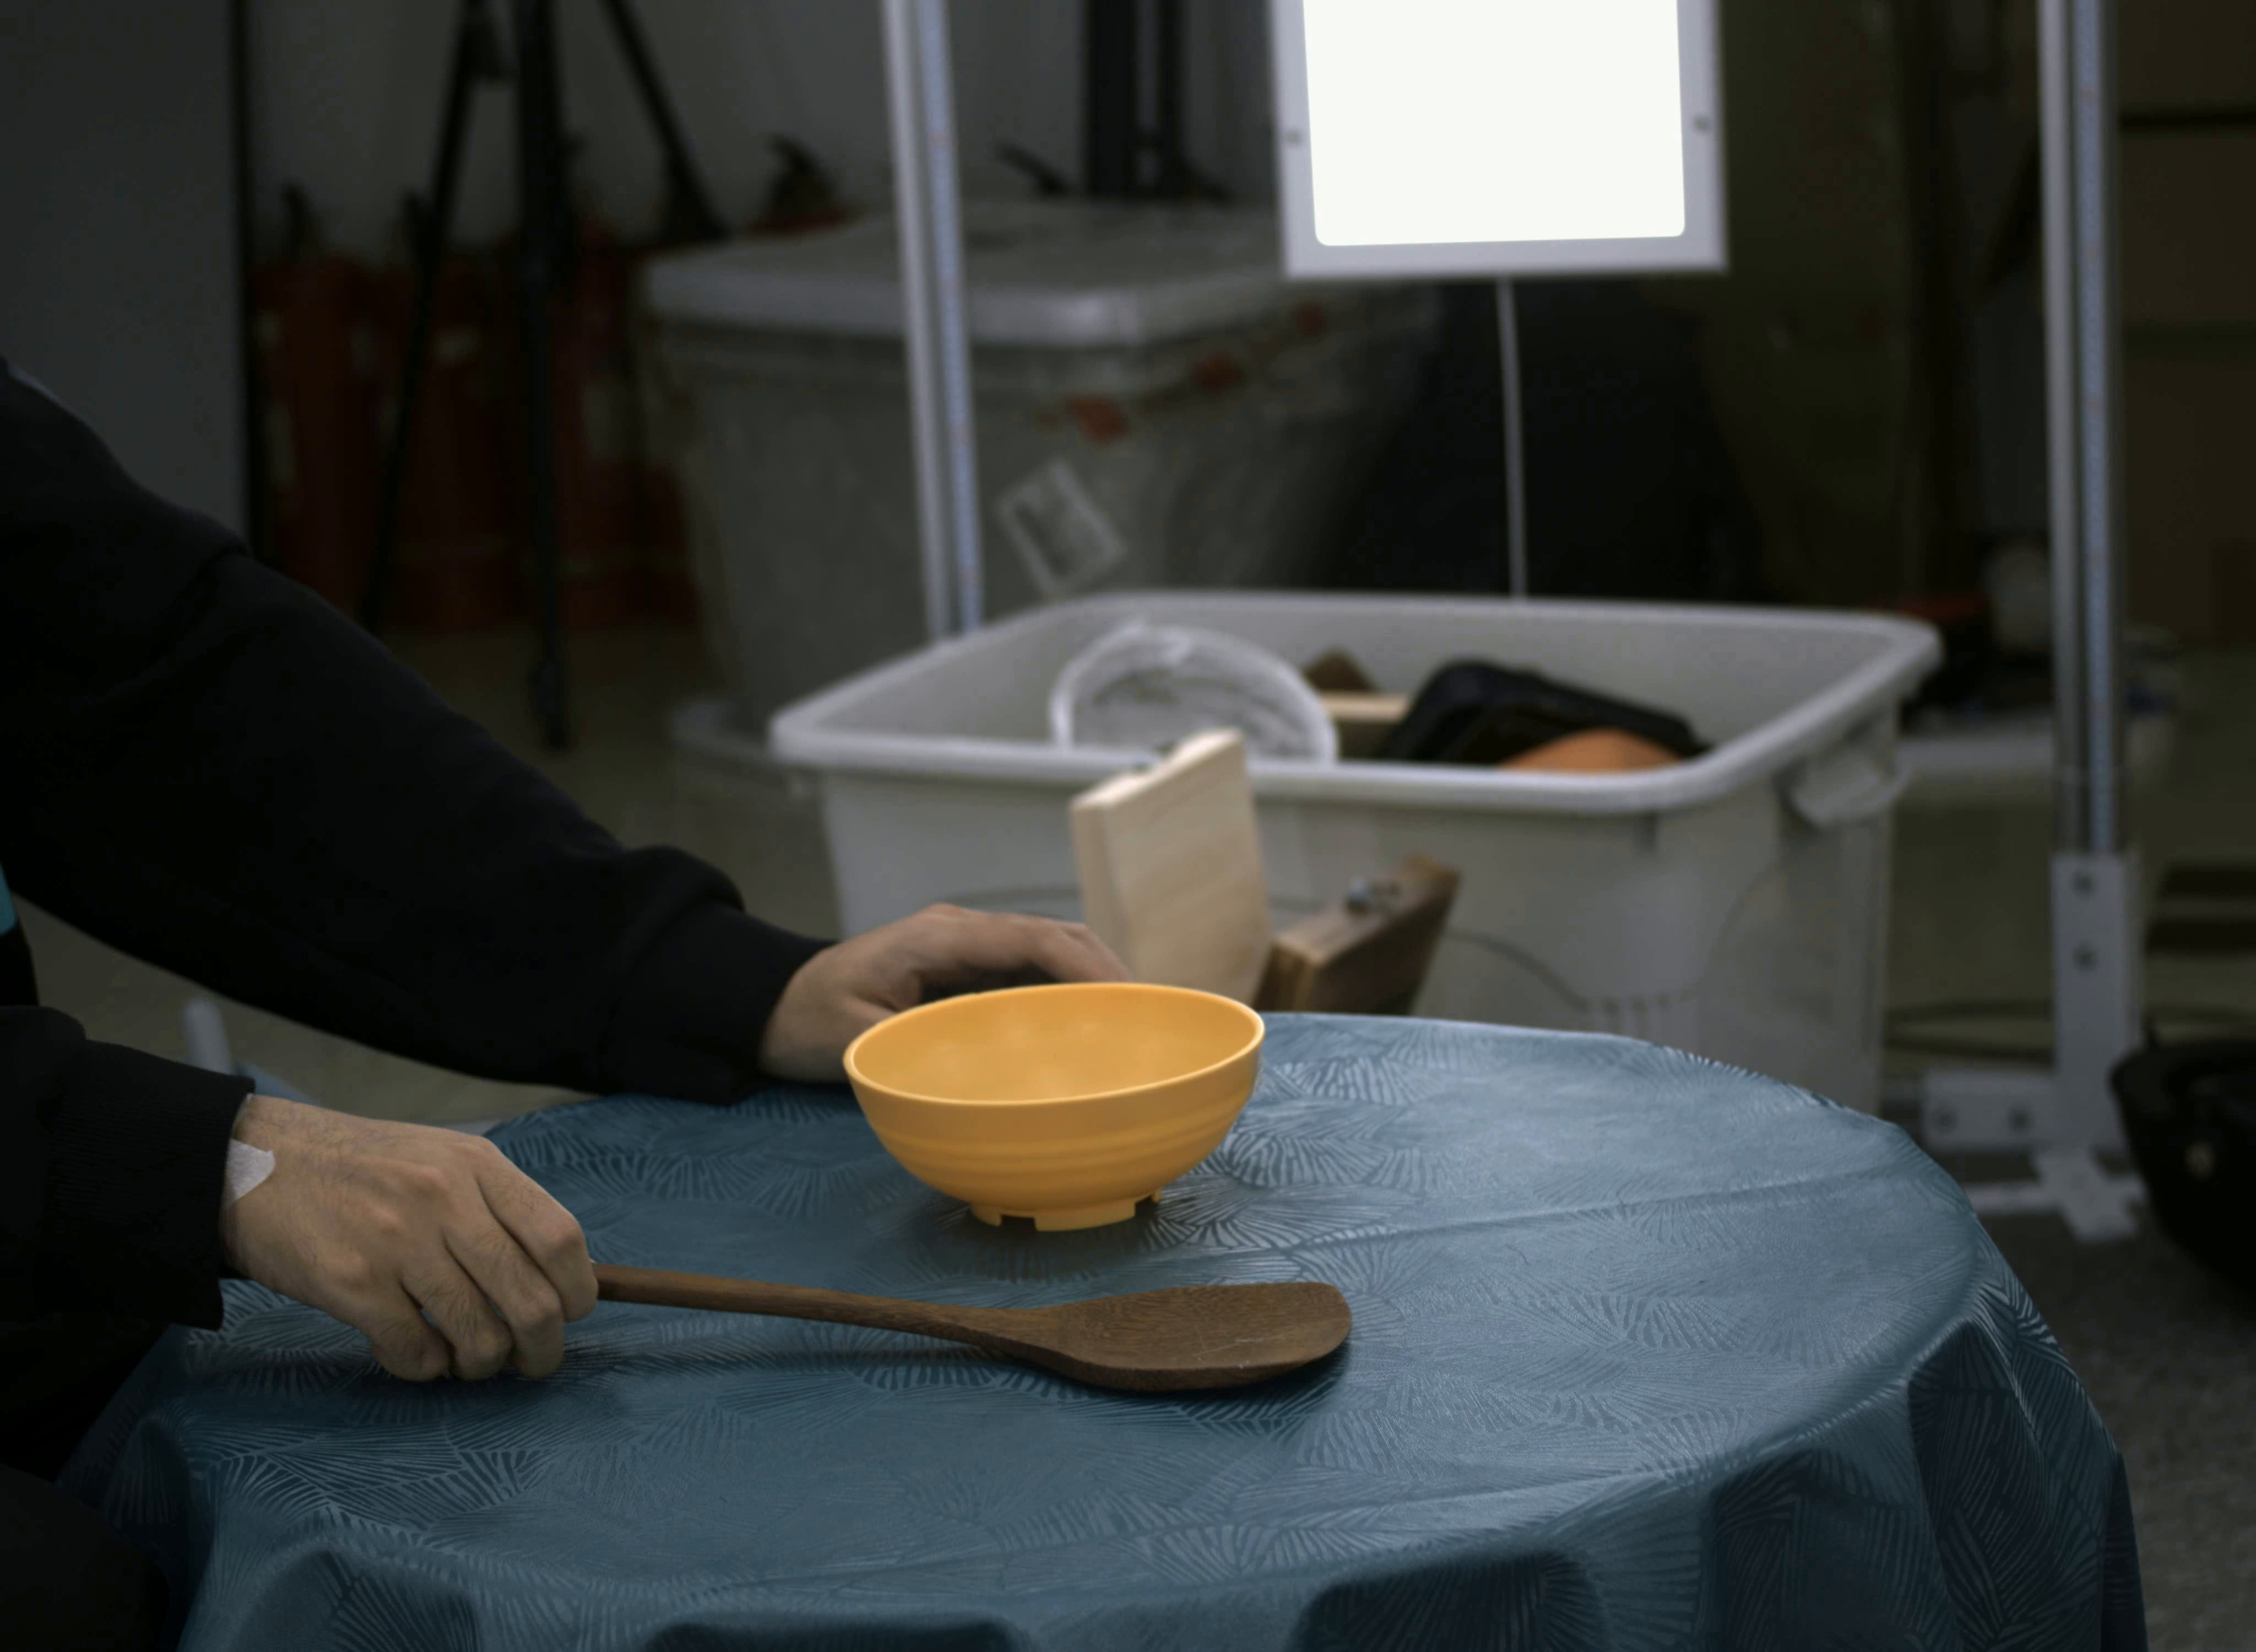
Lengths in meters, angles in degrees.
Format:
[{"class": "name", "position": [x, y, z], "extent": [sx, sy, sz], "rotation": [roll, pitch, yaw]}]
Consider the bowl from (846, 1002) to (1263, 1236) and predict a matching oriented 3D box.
[{"class": "bowl", "position": [-0.024, 0.104, 1.885], "extent": [0.145, 0.060, 0.145], "rotation": [-5, 11, -1]}]

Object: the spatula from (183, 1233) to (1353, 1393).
[{"class": "spatula", "position": [-0.119, 0.151, 1.762], "extent": [0.389, 0.016, 0.095], "rotation": [4, 14, 13]}]
